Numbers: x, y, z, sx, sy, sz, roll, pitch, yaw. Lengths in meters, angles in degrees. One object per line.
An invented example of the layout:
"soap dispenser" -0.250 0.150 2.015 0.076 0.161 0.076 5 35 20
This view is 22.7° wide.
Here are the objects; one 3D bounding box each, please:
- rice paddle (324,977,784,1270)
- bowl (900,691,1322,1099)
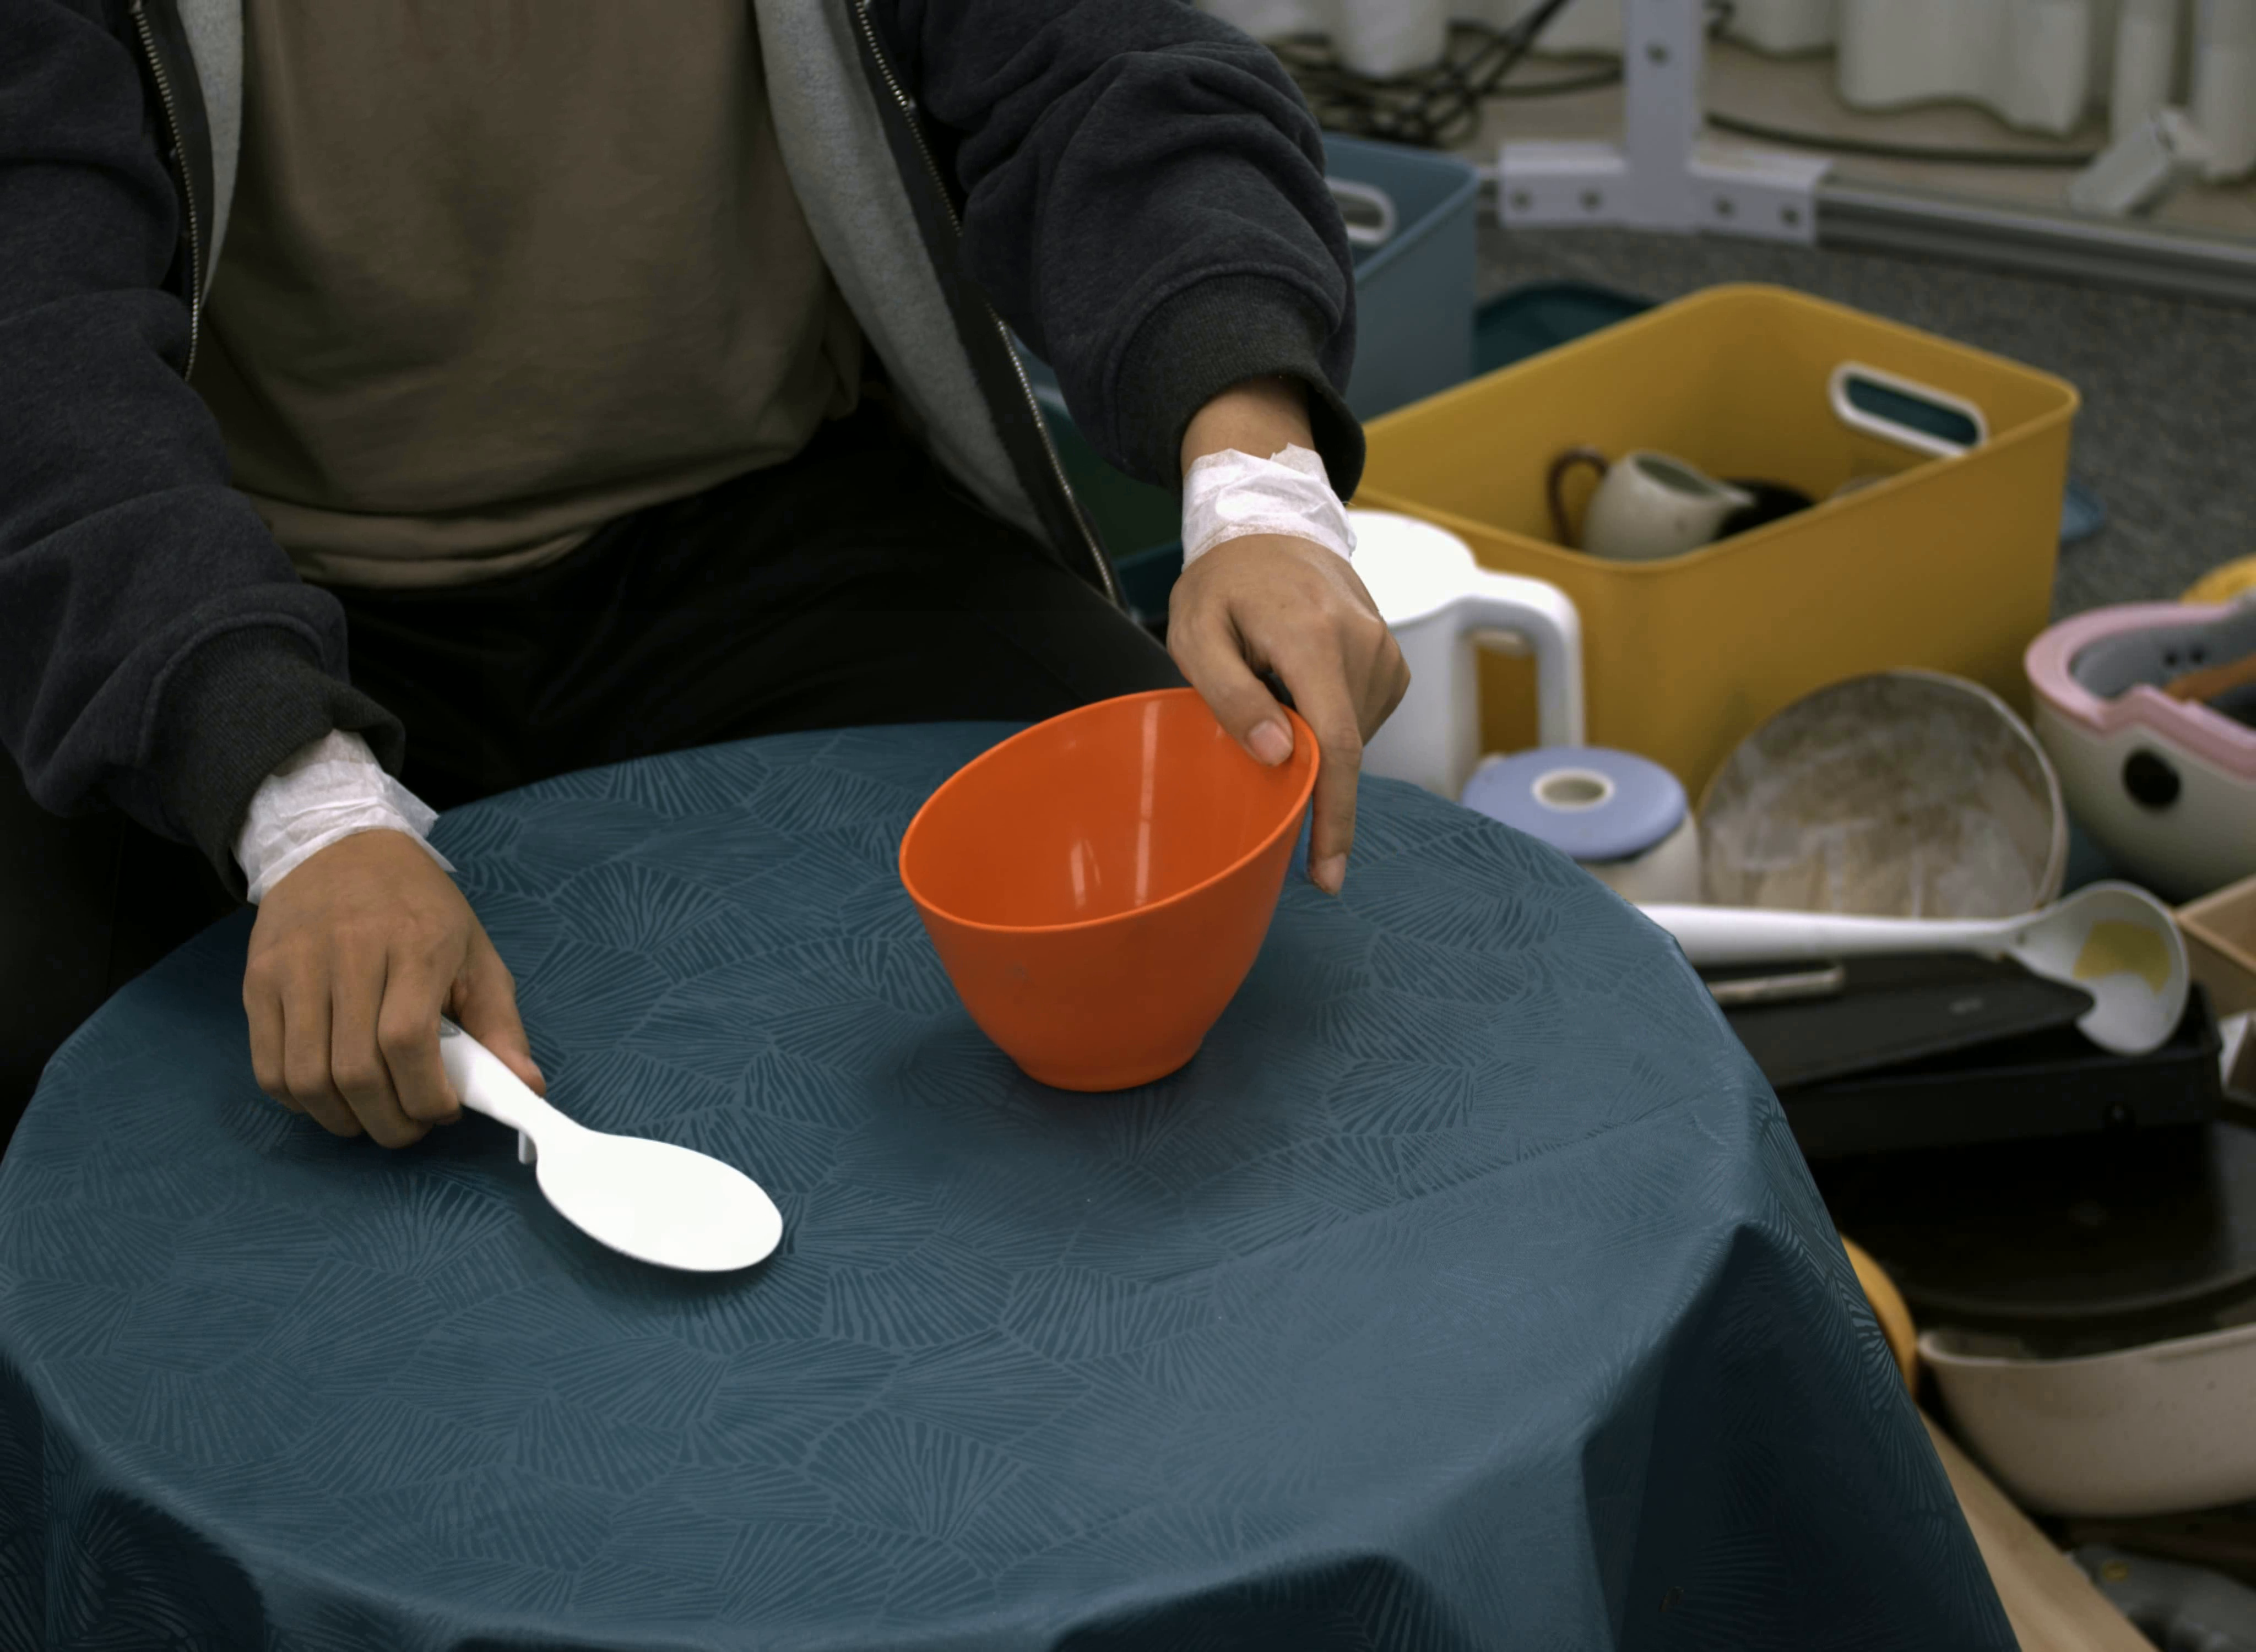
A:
"rice paddle" -0.193 0.102 1.878 0.205 0.029 0.069 27 33 38
"bowl" -0.001 0.030 1.926 0.147 0.103 0.150 -6 28 3
